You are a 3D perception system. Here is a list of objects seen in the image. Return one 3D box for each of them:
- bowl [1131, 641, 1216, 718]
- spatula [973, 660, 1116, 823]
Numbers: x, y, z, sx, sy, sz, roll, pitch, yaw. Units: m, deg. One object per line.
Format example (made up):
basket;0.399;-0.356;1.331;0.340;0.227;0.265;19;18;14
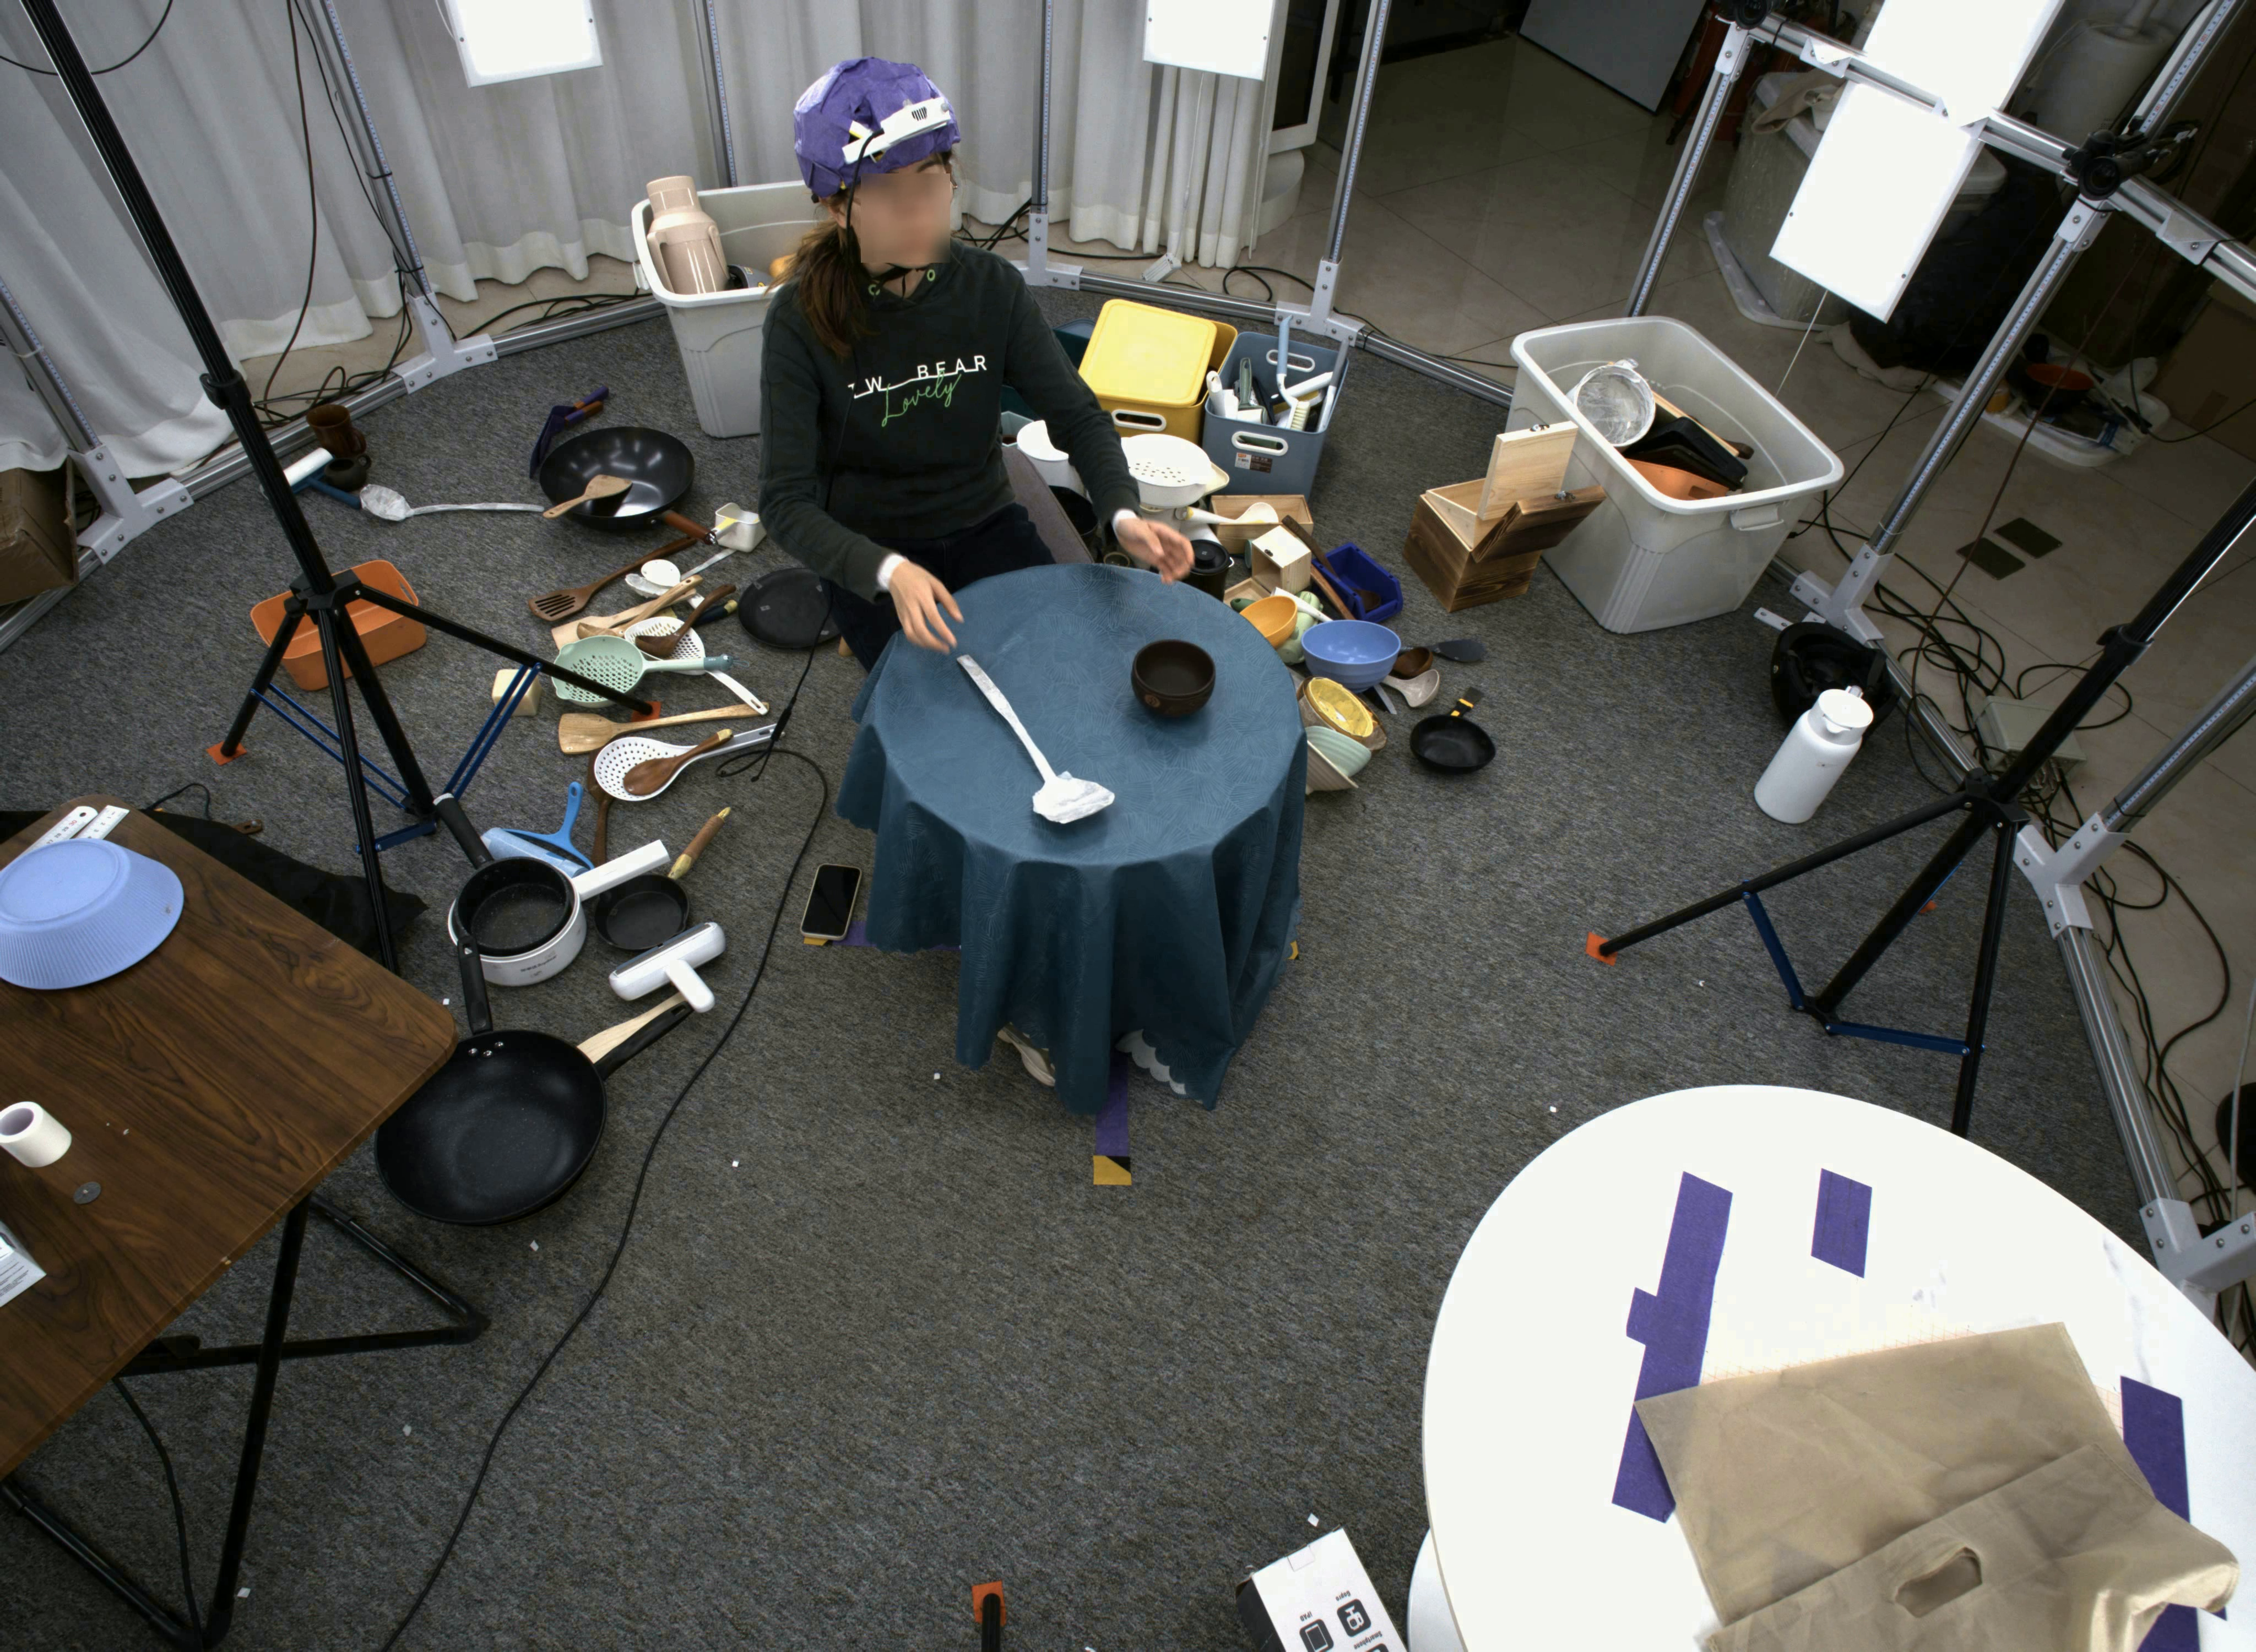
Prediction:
bowl;0.063;-0.200;1.816;0.118;0.068;0.121;3;47;-3
spatula;-0.137;-0.127;1.760;0.099;0.043;0.373;-22;54;-19
